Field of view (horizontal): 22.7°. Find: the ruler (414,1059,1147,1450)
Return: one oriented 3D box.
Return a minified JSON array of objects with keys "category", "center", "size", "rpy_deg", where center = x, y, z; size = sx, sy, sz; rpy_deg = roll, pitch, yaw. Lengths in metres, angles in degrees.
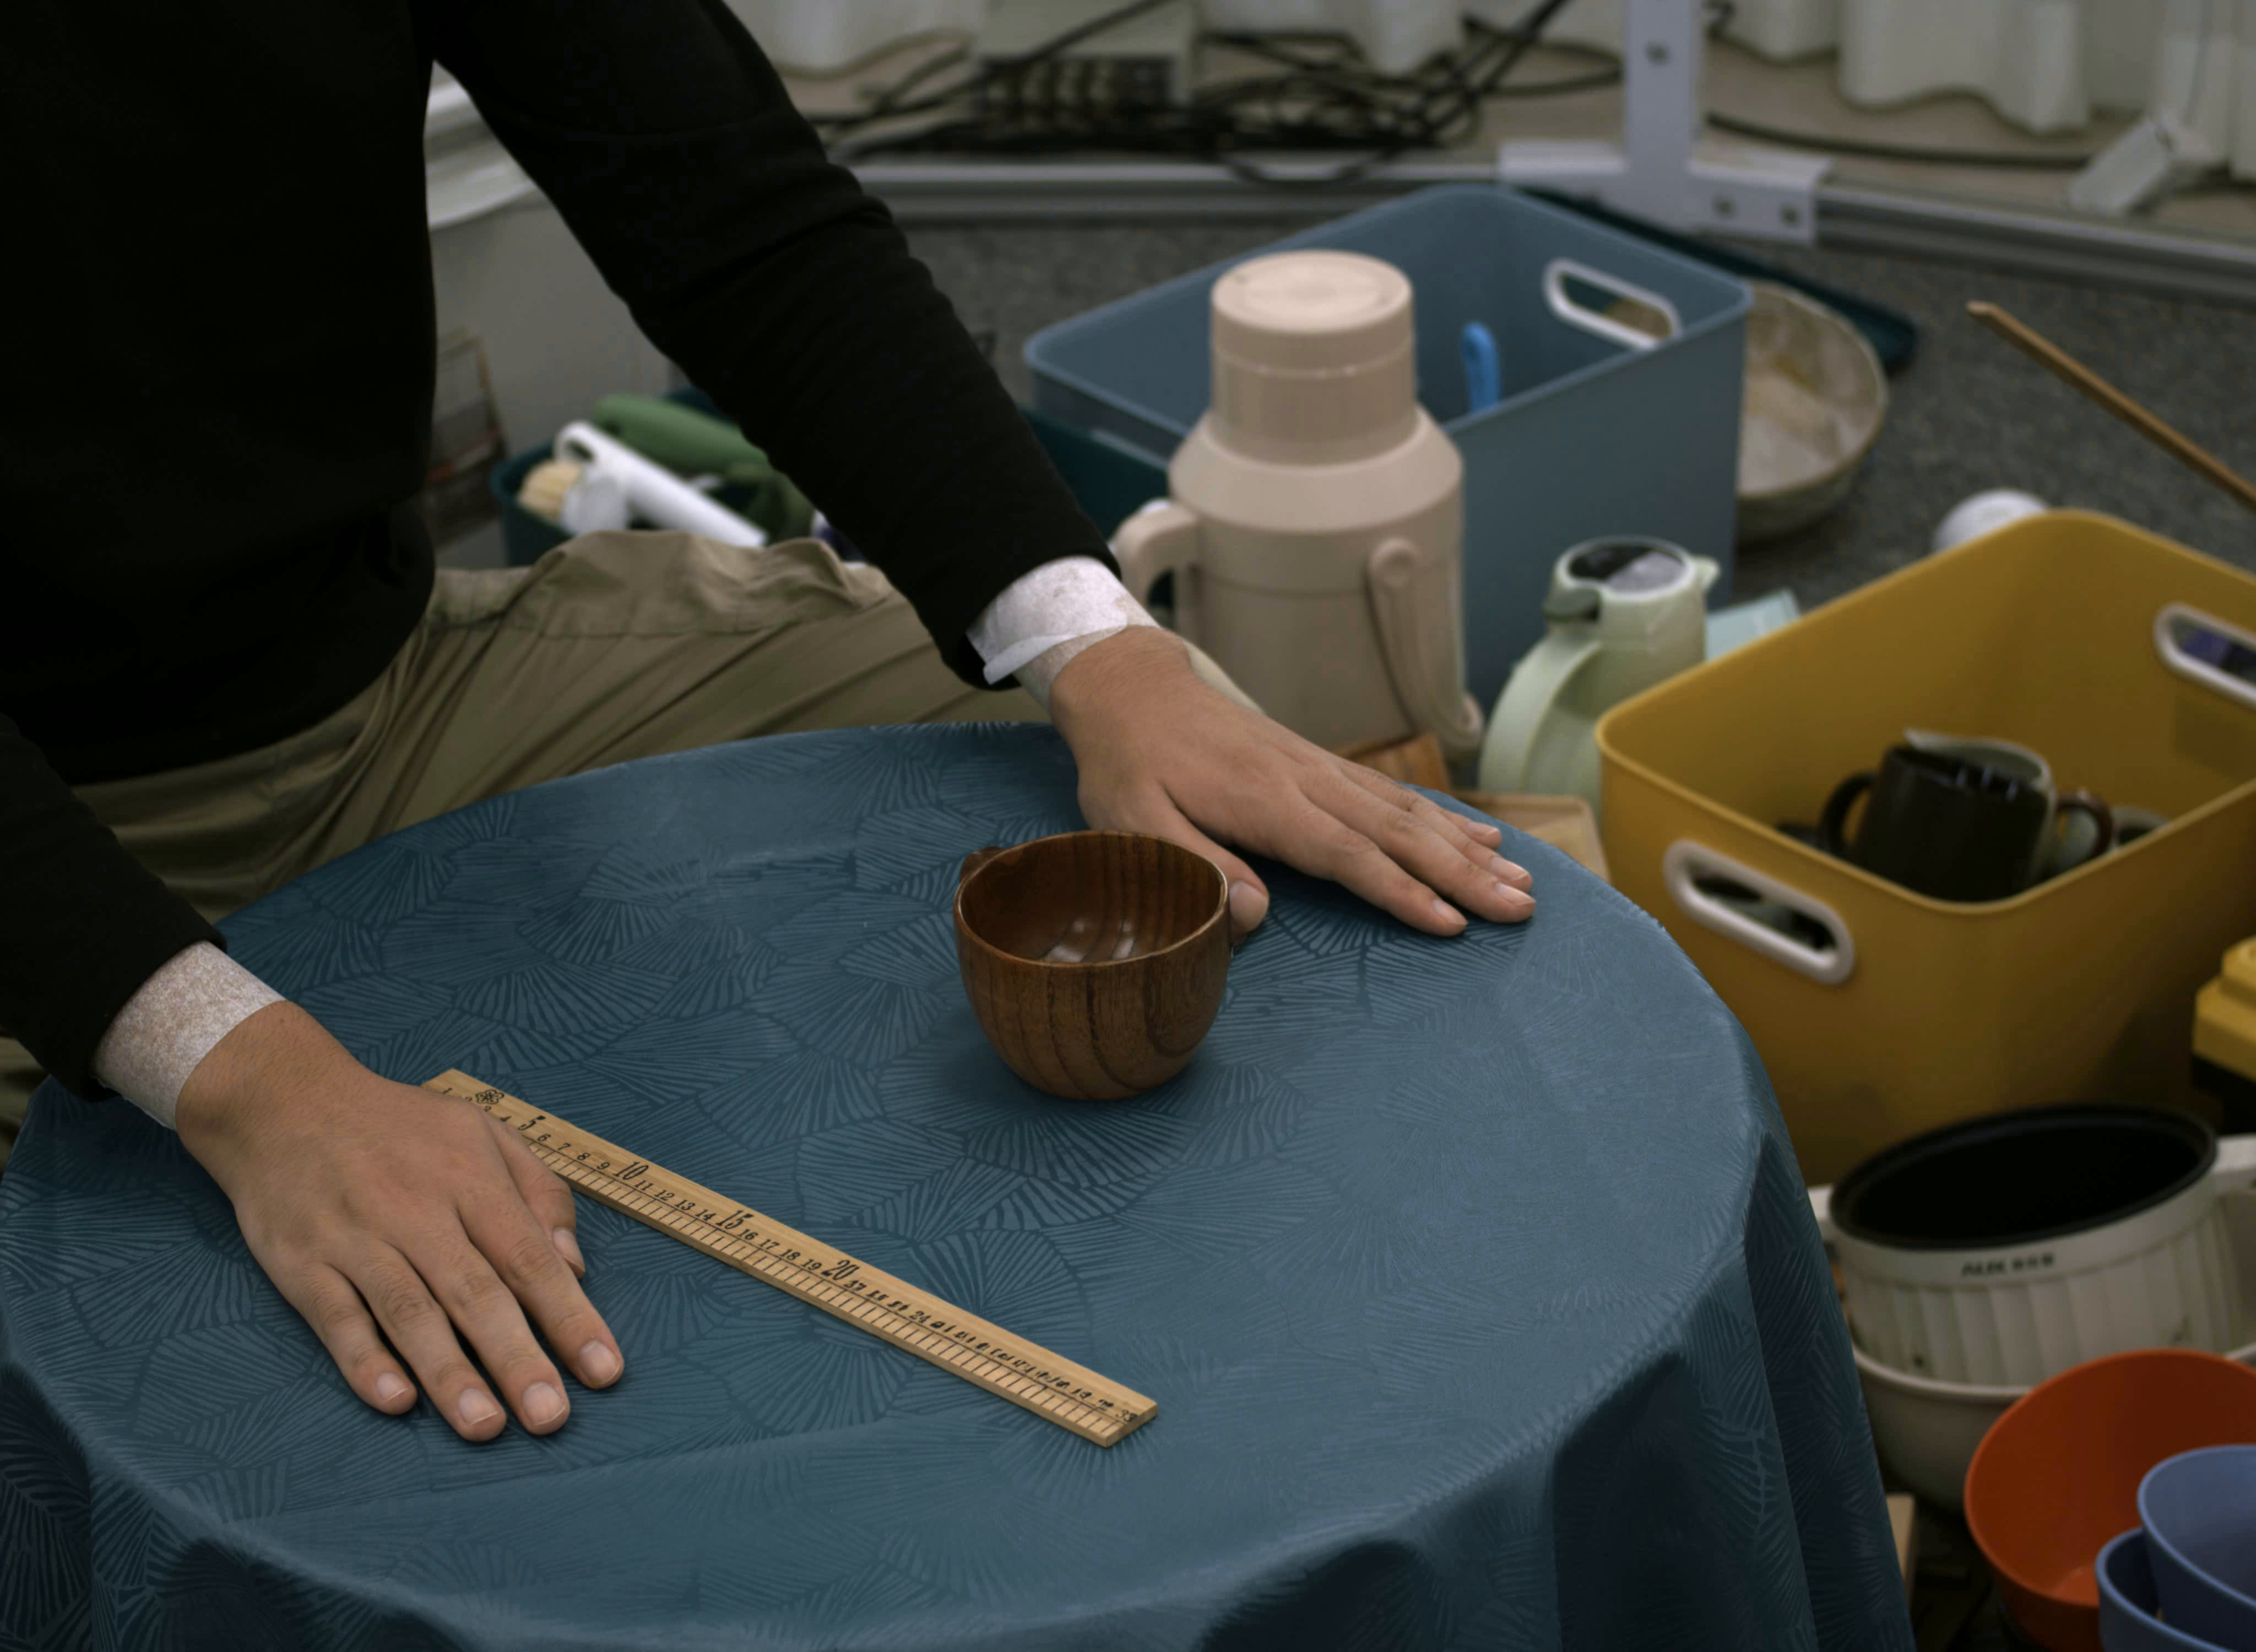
[{"category":"ruler","center":[-0.121,0.135,1.837],"size":[0.331,0.022,0.028],"rpy_deg":[23,32,39]}]

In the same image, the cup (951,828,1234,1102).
[{"category":"cup","center":[-0.017,0.048,1.936],"size":[0.097,0.067,0.119],"rpy_deg":[-25,33,-33]}]
